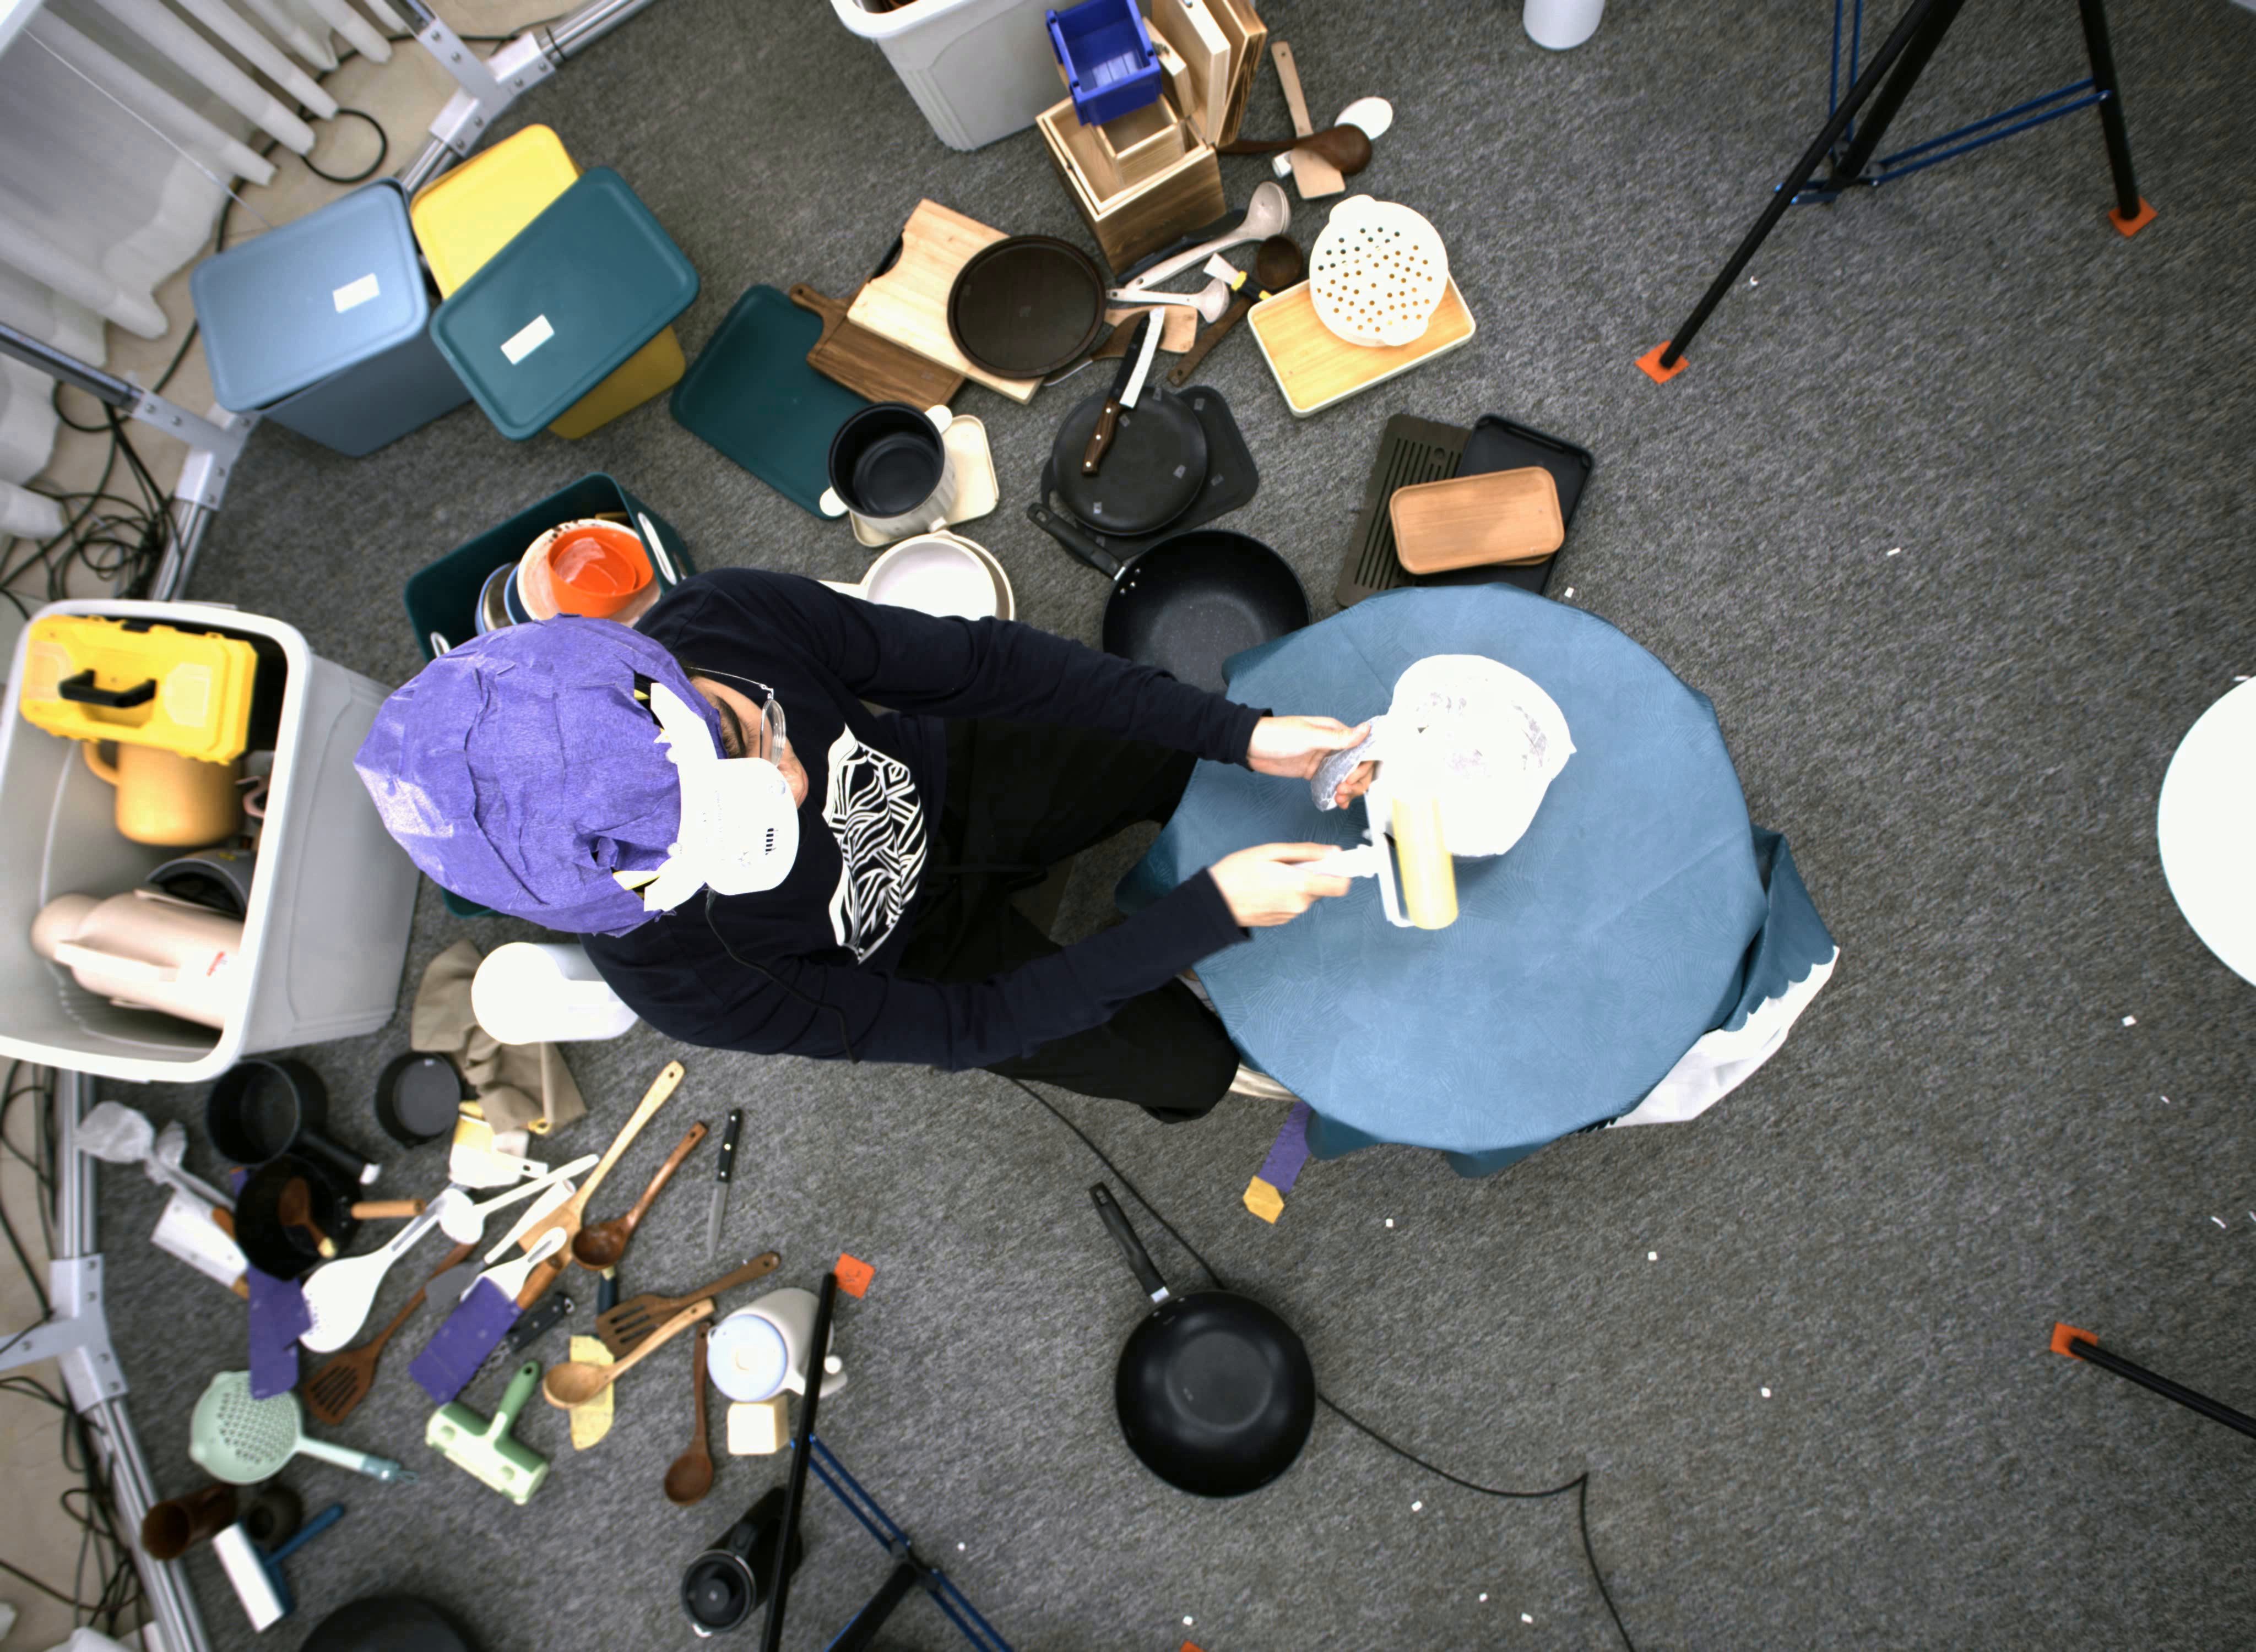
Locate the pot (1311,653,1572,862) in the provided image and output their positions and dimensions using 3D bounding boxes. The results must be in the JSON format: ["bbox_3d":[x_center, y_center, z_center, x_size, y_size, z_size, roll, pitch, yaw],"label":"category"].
[{"bbox_3d":[0.301,-0.064,1.350,0.233,0.140,0.174,-3,52,-15],"label":"pot"}]

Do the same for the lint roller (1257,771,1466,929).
[{"bbox_3d":[0.219,0.043,1.316,0.192,0.178,0.050,-17,39,4],"label":"lint roller"}]
